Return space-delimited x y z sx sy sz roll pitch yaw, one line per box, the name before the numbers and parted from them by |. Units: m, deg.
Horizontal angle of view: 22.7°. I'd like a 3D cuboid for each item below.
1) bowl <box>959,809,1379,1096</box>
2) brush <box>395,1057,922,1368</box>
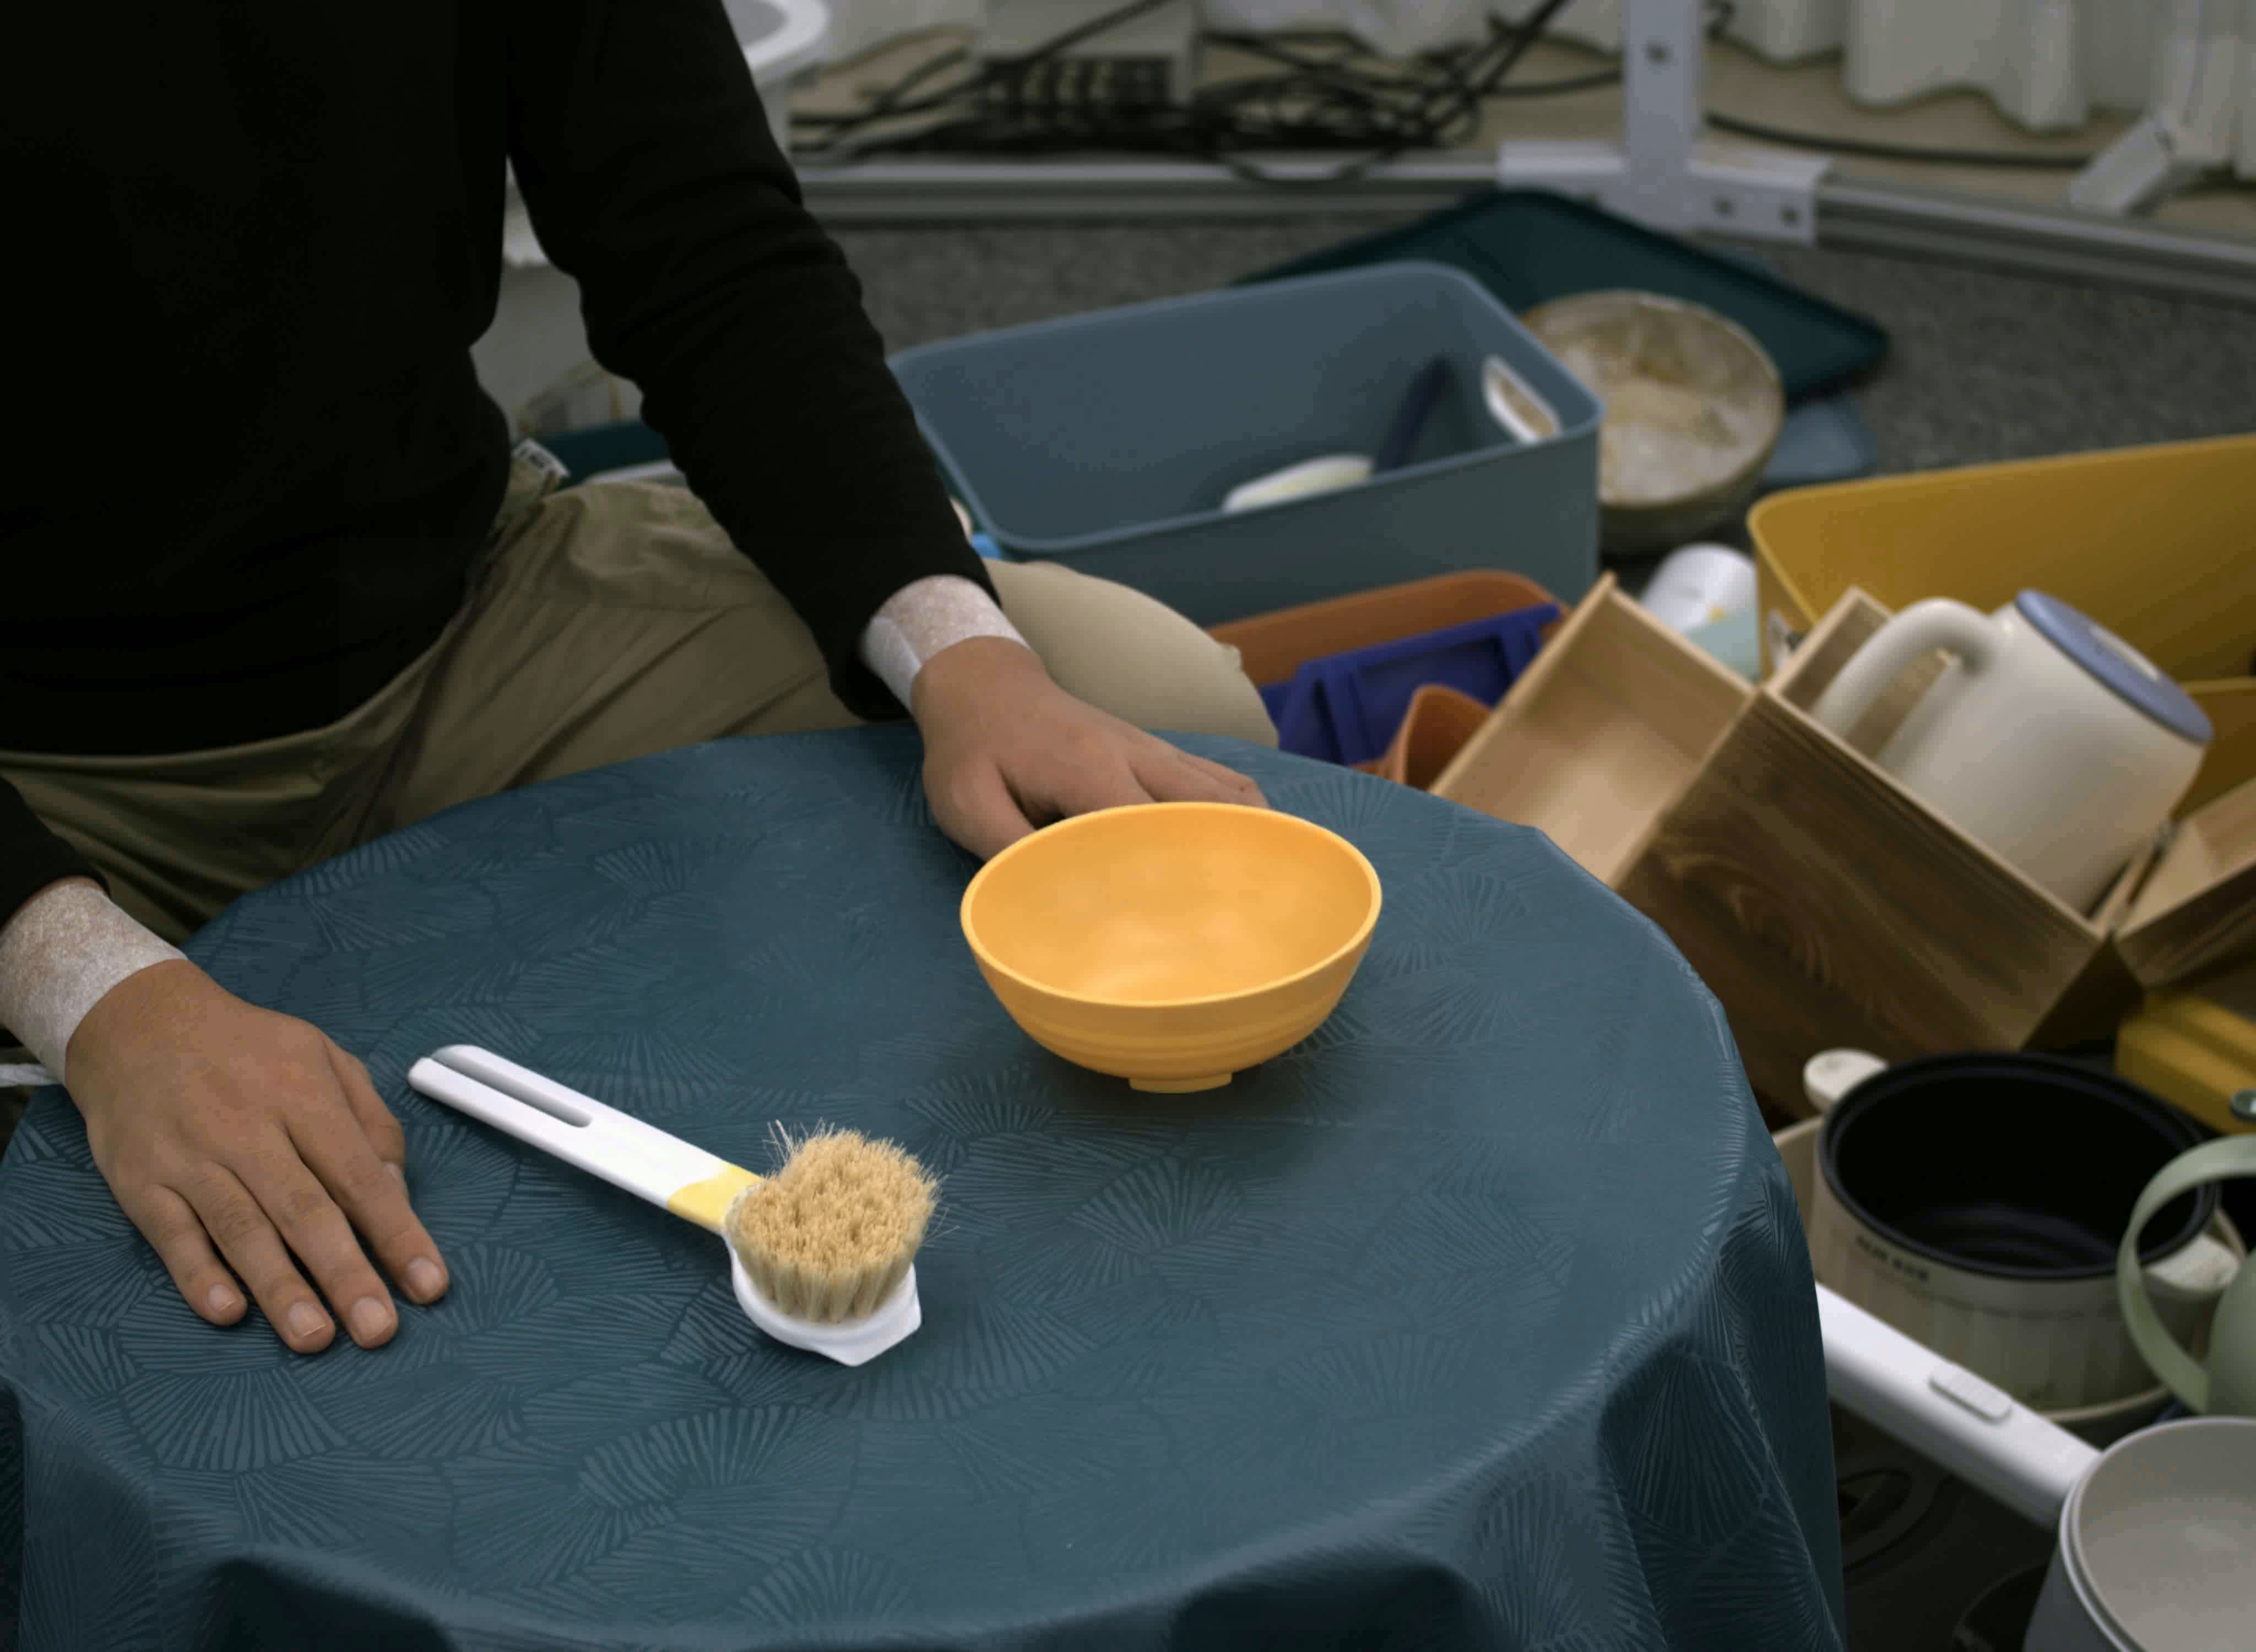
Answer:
bowl | 0.015 0.052 1.933 0.144 0.059 0.147 -2 26 1
brush | -0.164 0.105 1.853 0.069 0.055 0.266 -18 30 -36
